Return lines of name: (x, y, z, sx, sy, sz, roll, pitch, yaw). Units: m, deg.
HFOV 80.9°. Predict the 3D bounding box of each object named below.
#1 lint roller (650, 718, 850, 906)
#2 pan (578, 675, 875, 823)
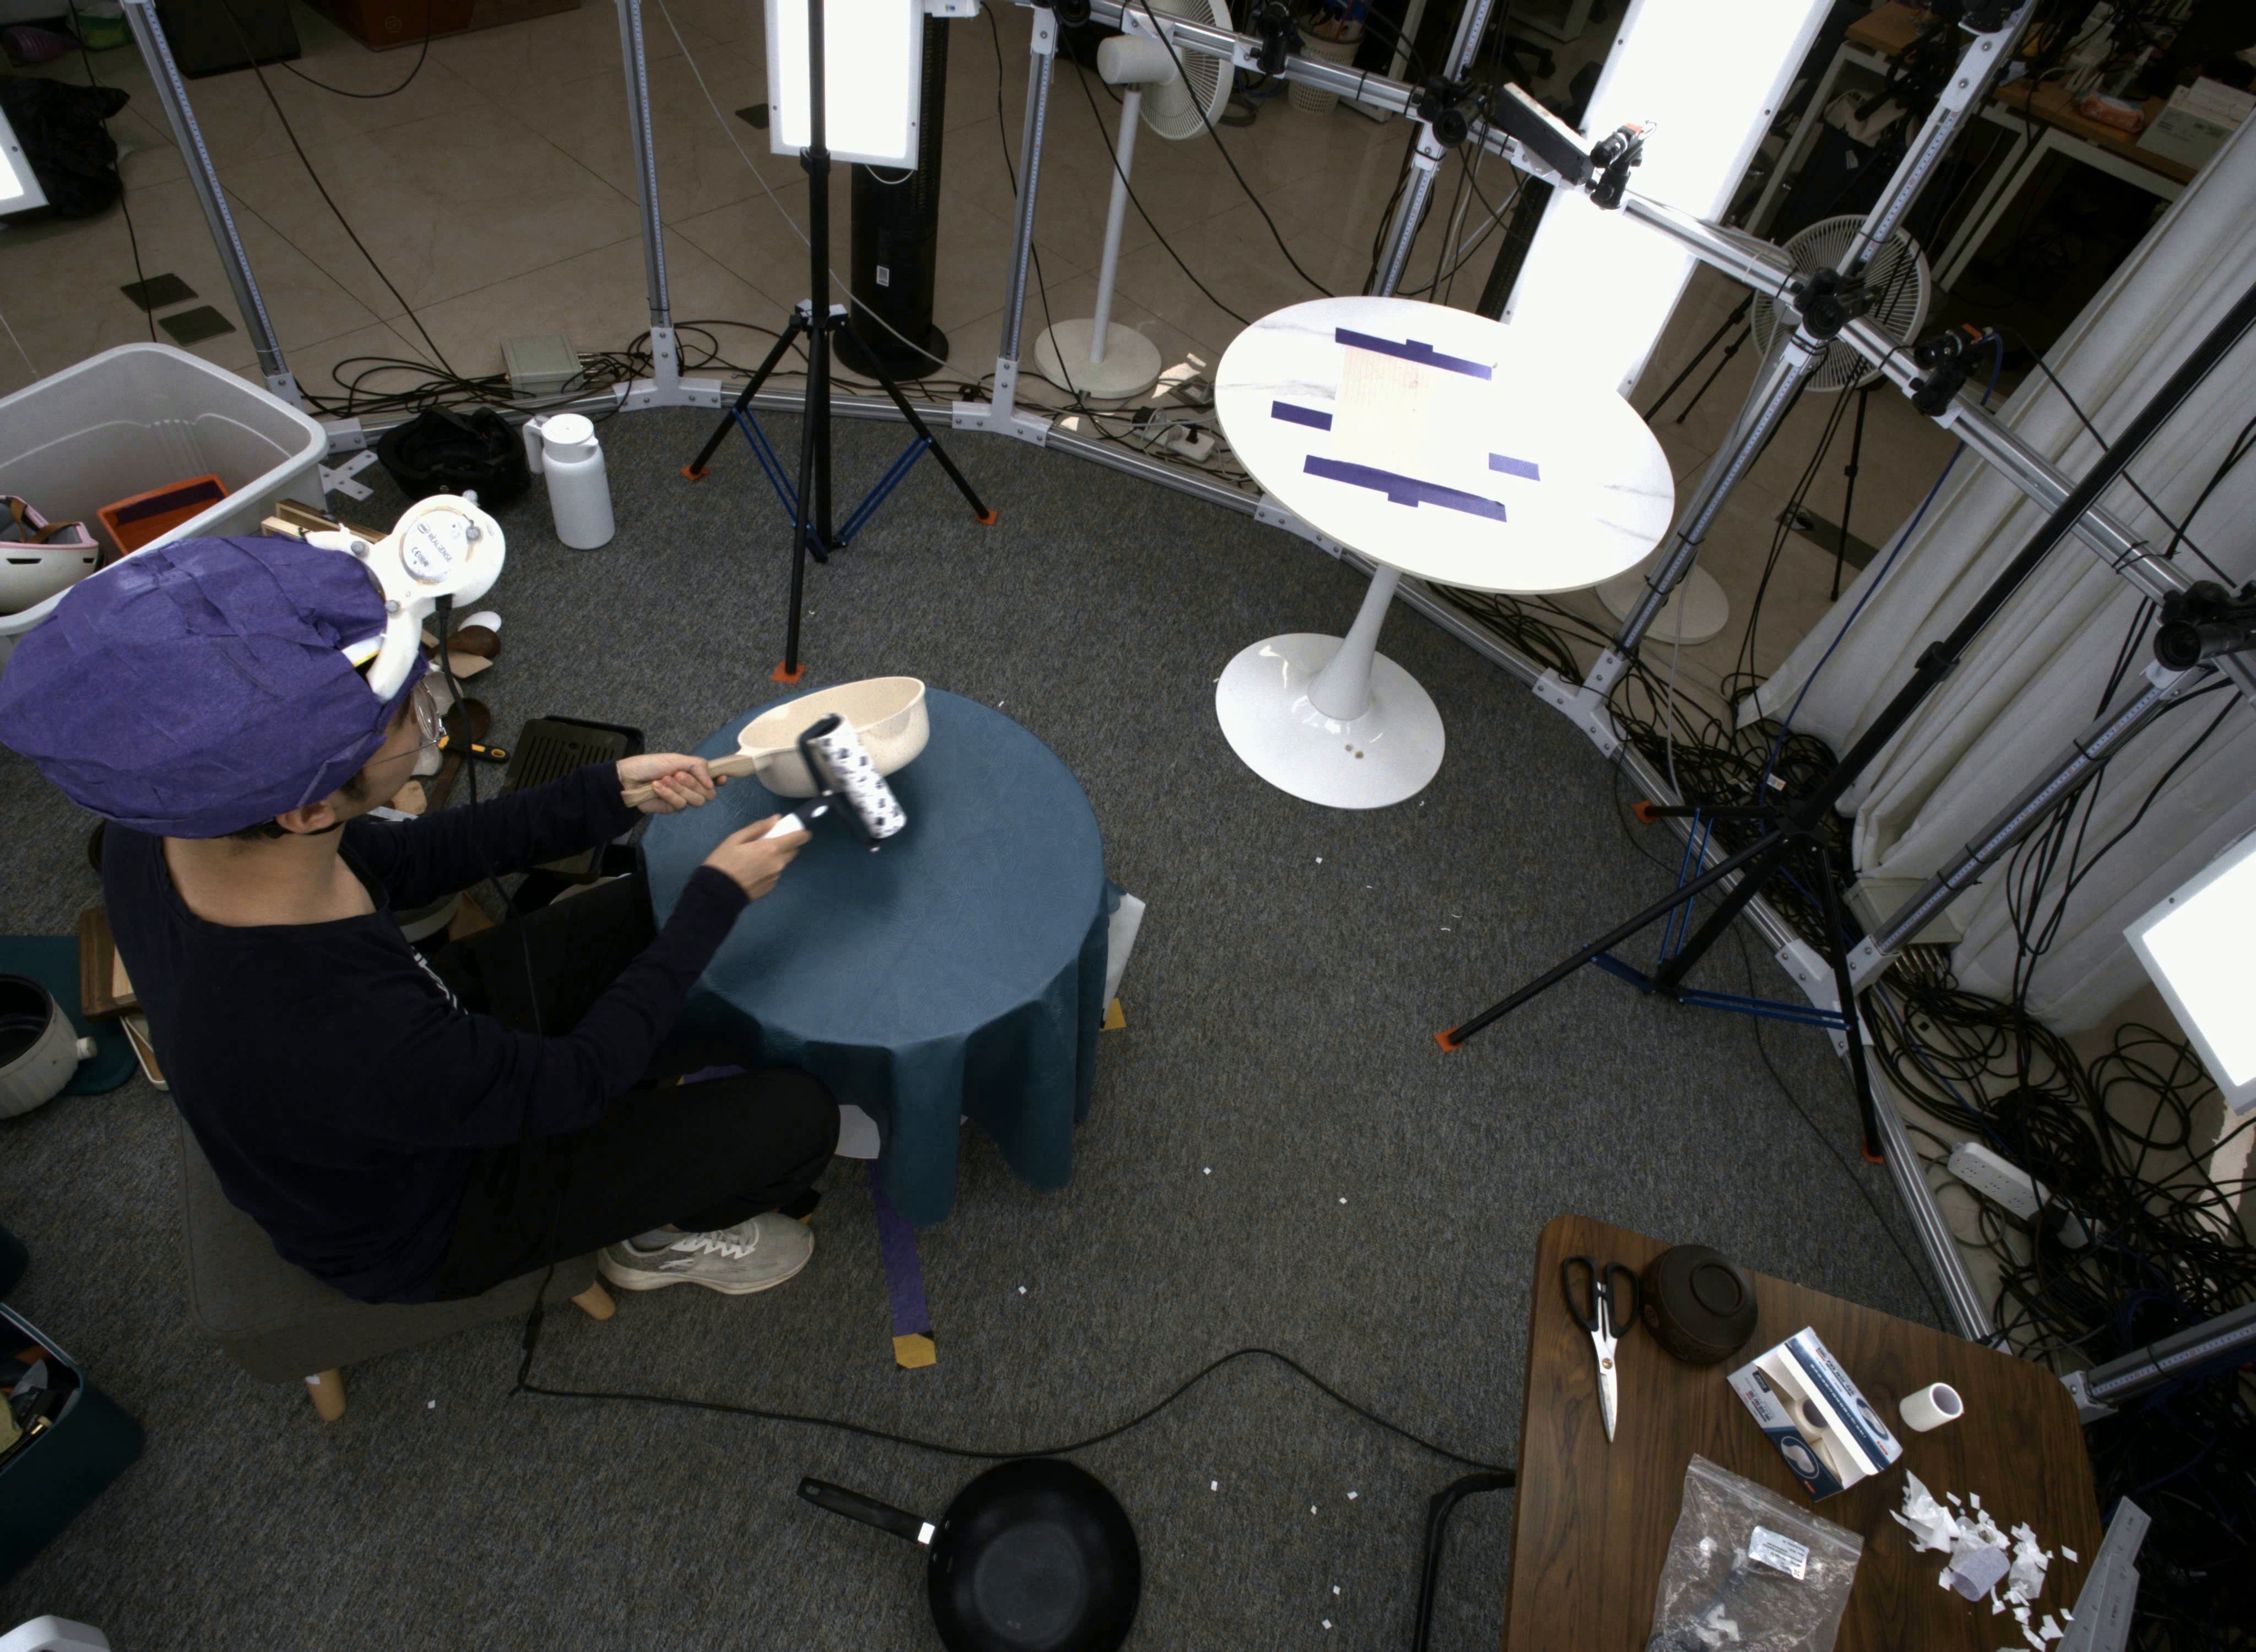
lint roller: (-0.467, 0.012, 1.545, 0.247, 0.183, 0.048, -43, 39, -19)
pan: (-0.503, -0.076, 1.631, 0.254, 0.105, 0.436, 6, 31, 37)
